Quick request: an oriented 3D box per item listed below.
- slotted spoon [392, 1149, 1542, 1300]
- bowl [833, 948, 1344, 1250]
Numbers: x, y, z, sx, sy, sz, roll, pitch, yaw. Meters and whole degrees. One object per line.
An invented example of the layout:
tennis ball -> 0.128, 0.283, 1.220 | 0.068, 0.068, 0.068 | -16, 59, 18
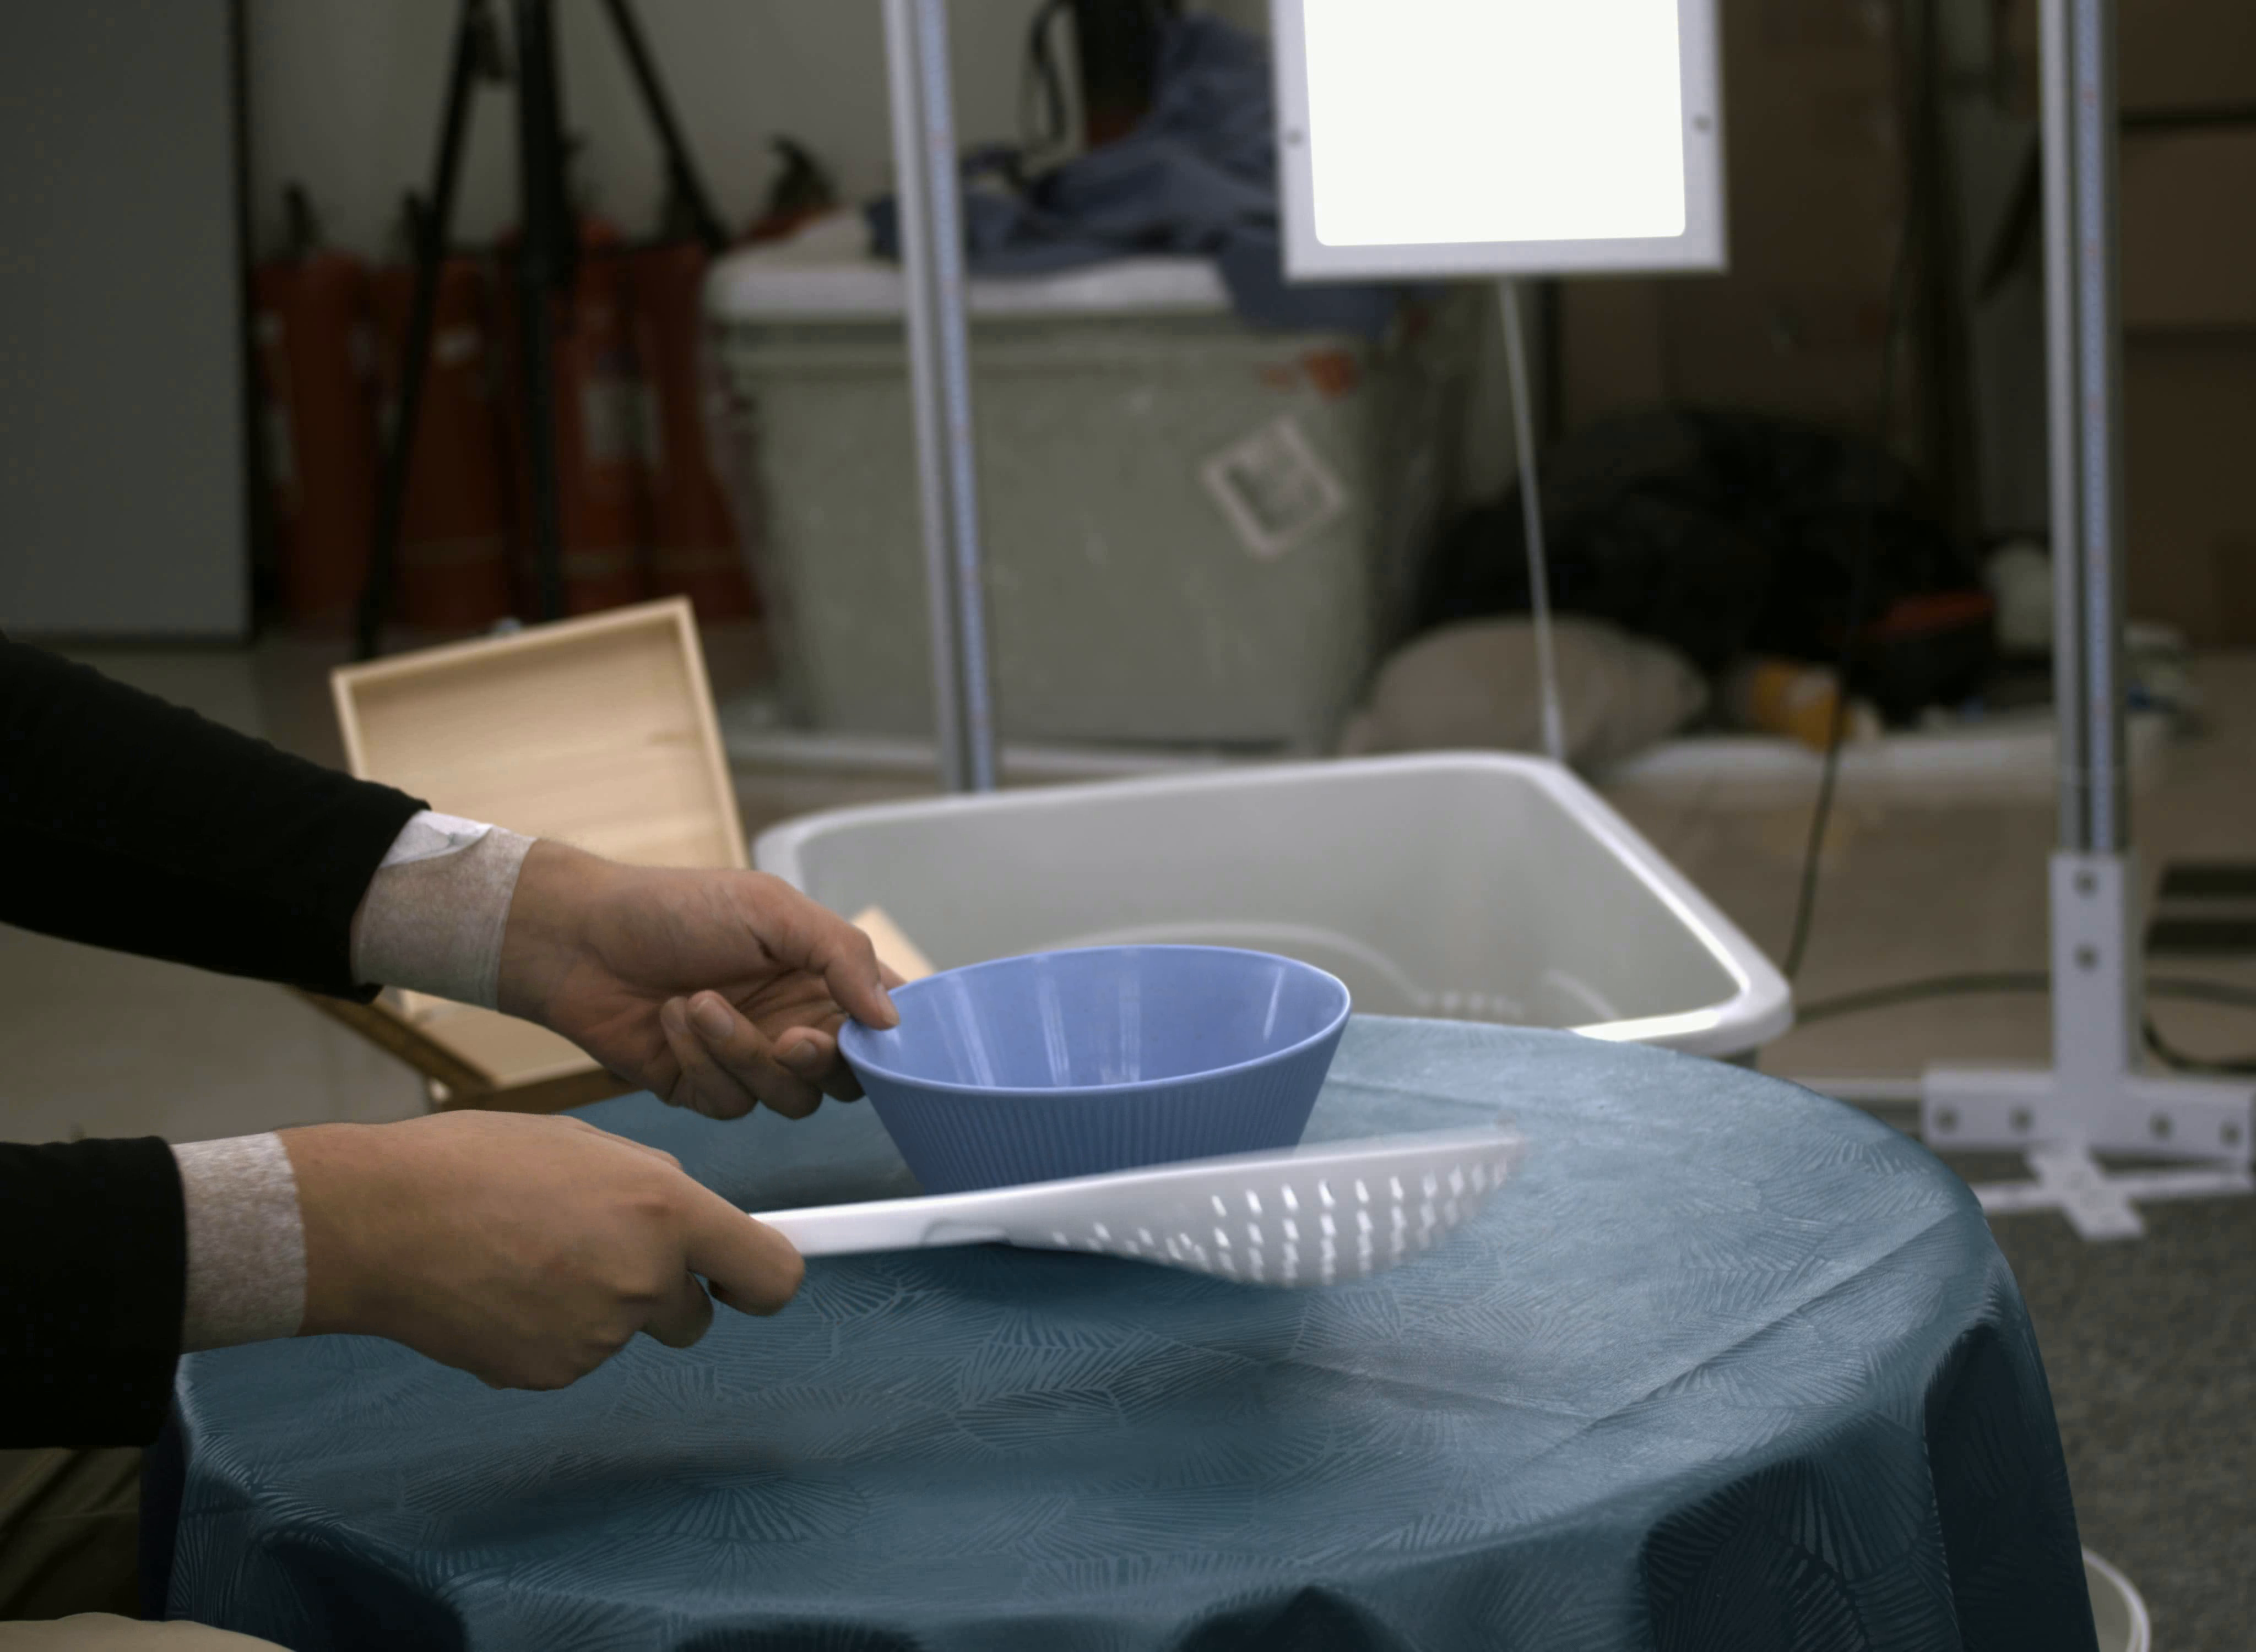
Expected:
slotted spoon -> -0.048, 0.120, 1.674 | 0.349, 0.046, 0.136 | 0, -2, 0
bowl -> -0.011, 0.096, 1.882 | 0.175, 0.070, 0.176 | -6, 14, 0
